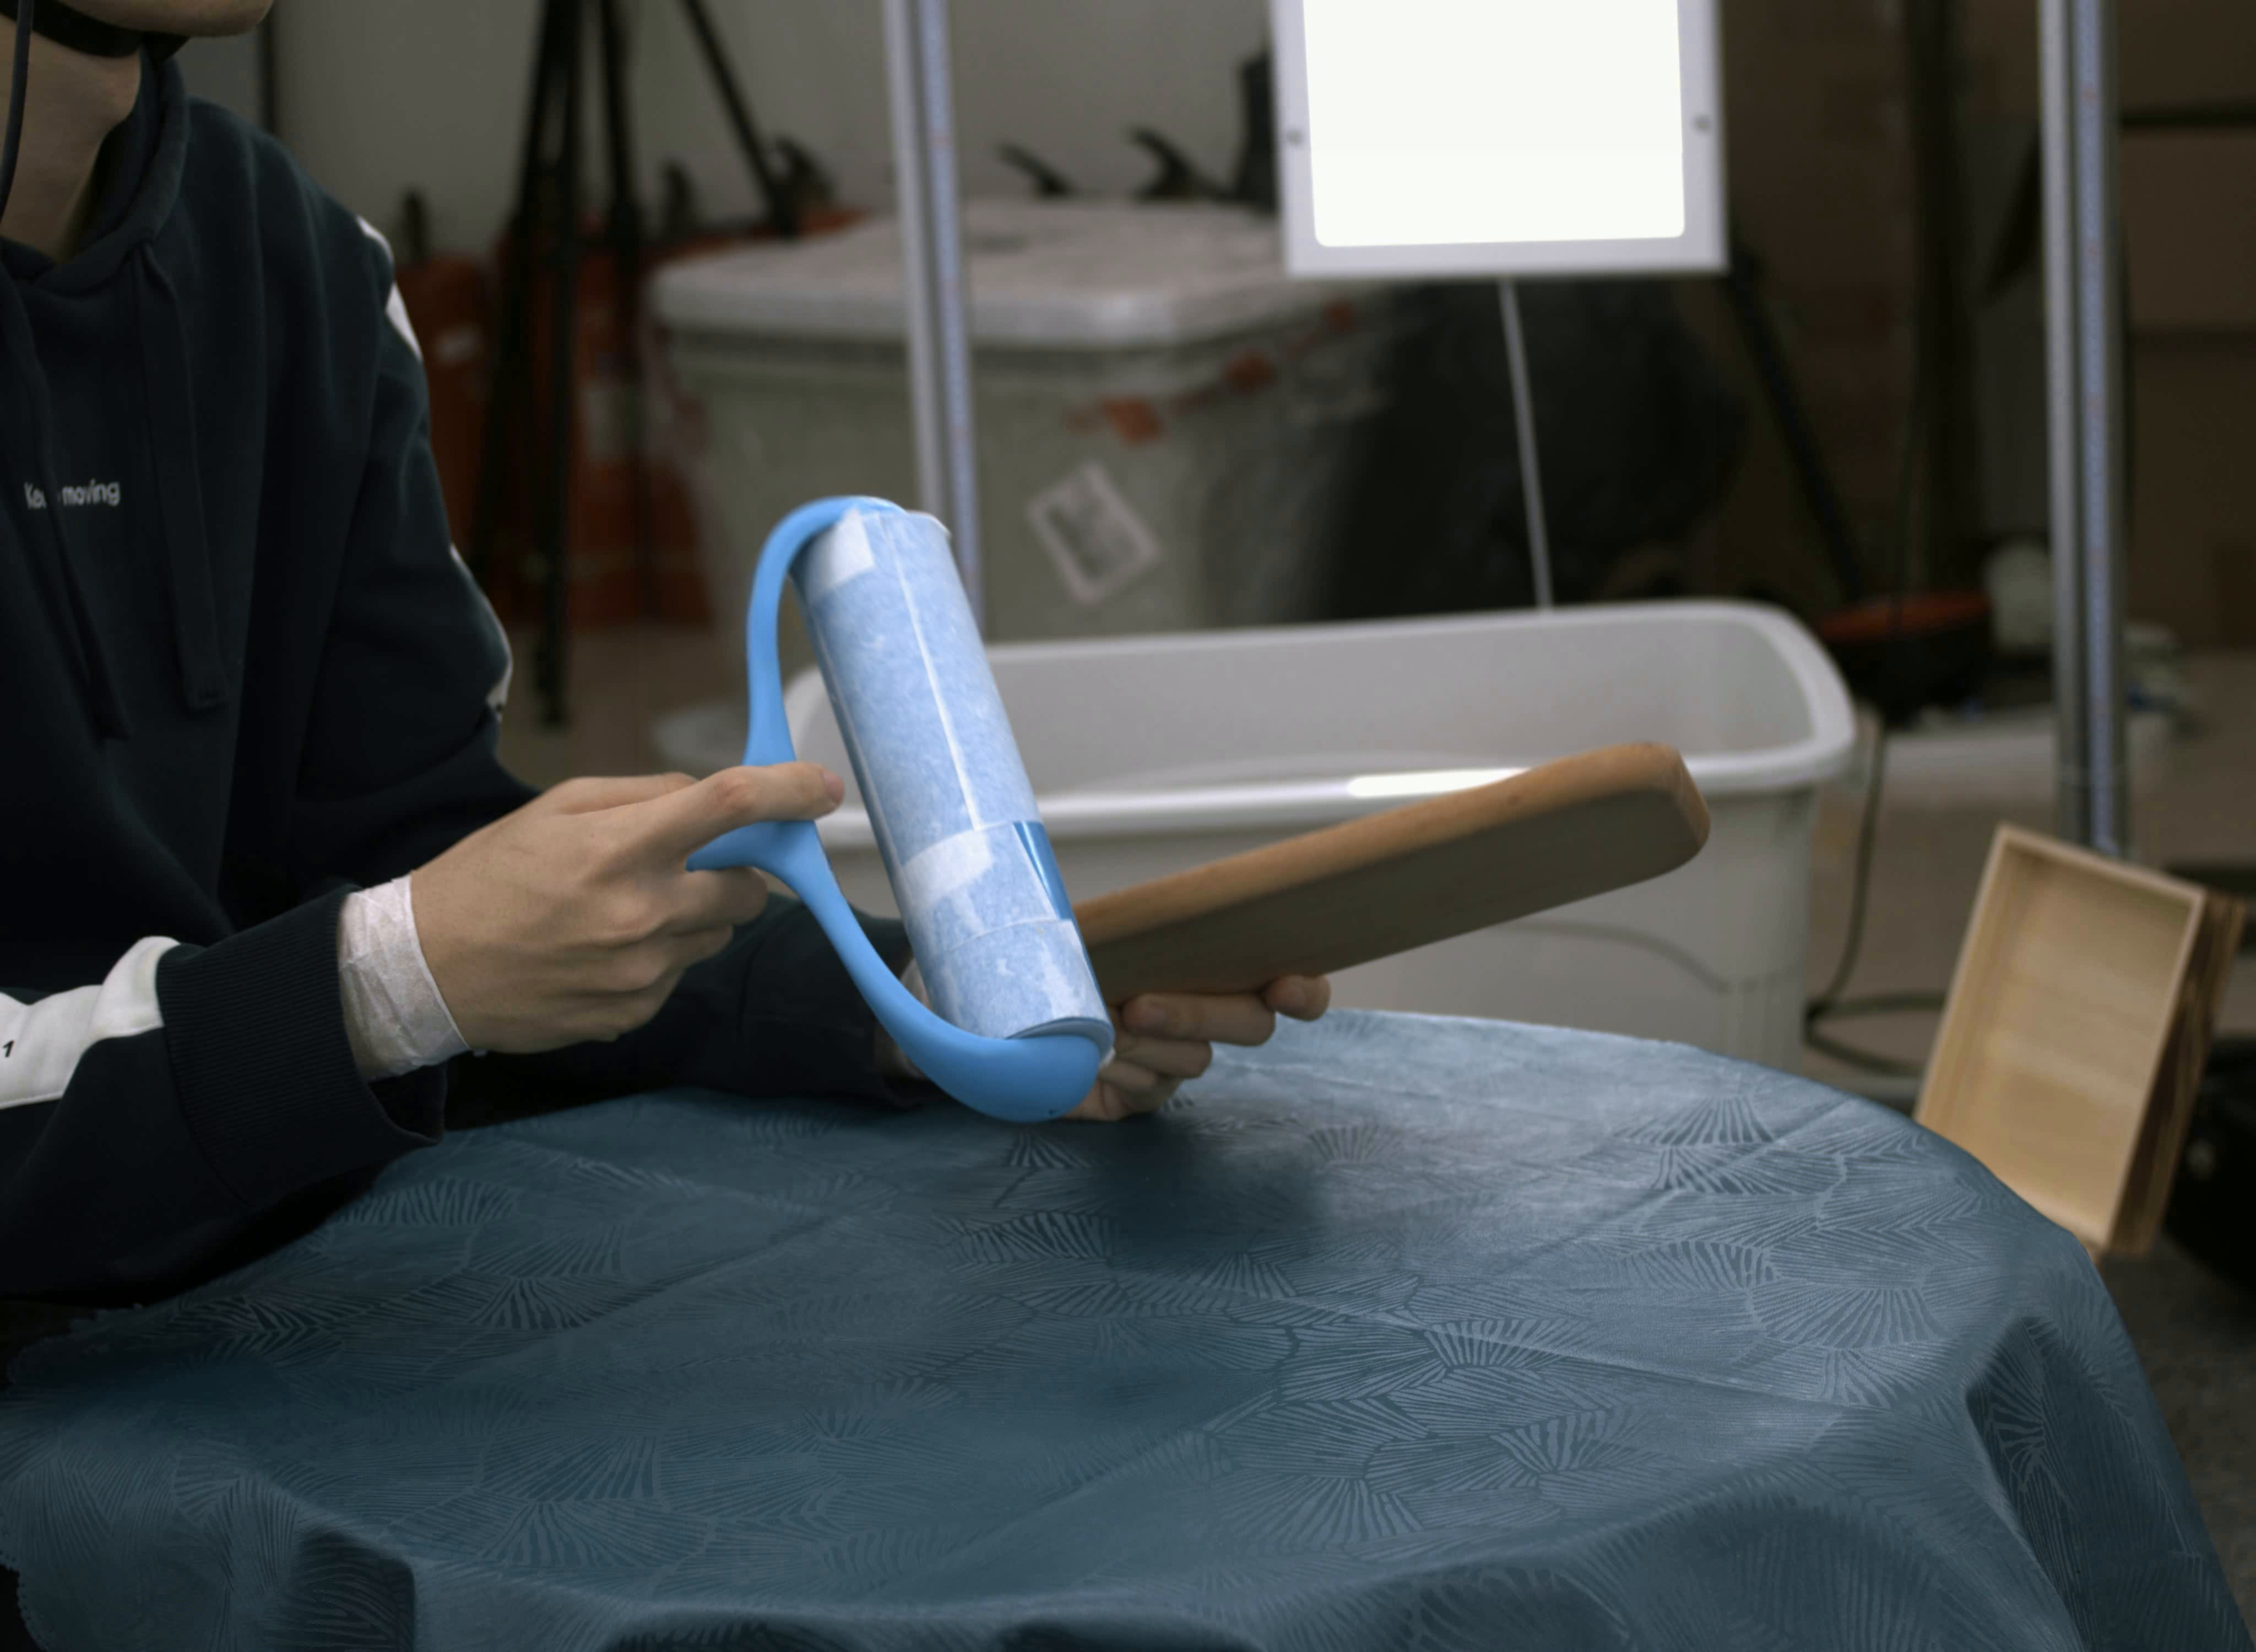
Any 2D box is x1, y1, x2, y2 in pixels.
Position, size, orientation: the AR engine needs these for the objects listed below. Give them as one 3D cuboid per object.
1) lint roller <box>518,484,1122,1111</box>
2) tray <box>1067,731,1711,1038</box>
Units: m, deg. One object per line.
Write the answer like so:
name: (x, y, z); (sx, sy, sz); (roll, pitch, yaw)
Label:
lint roller: (-0.113, 0.009, 1.778); (0.179, 0.230, 0.068); (-21, -22, -4)
tray: (0.076, 0.023, 1.891); (0.252, 0.023, 0.129); (-18, -23, 12)
